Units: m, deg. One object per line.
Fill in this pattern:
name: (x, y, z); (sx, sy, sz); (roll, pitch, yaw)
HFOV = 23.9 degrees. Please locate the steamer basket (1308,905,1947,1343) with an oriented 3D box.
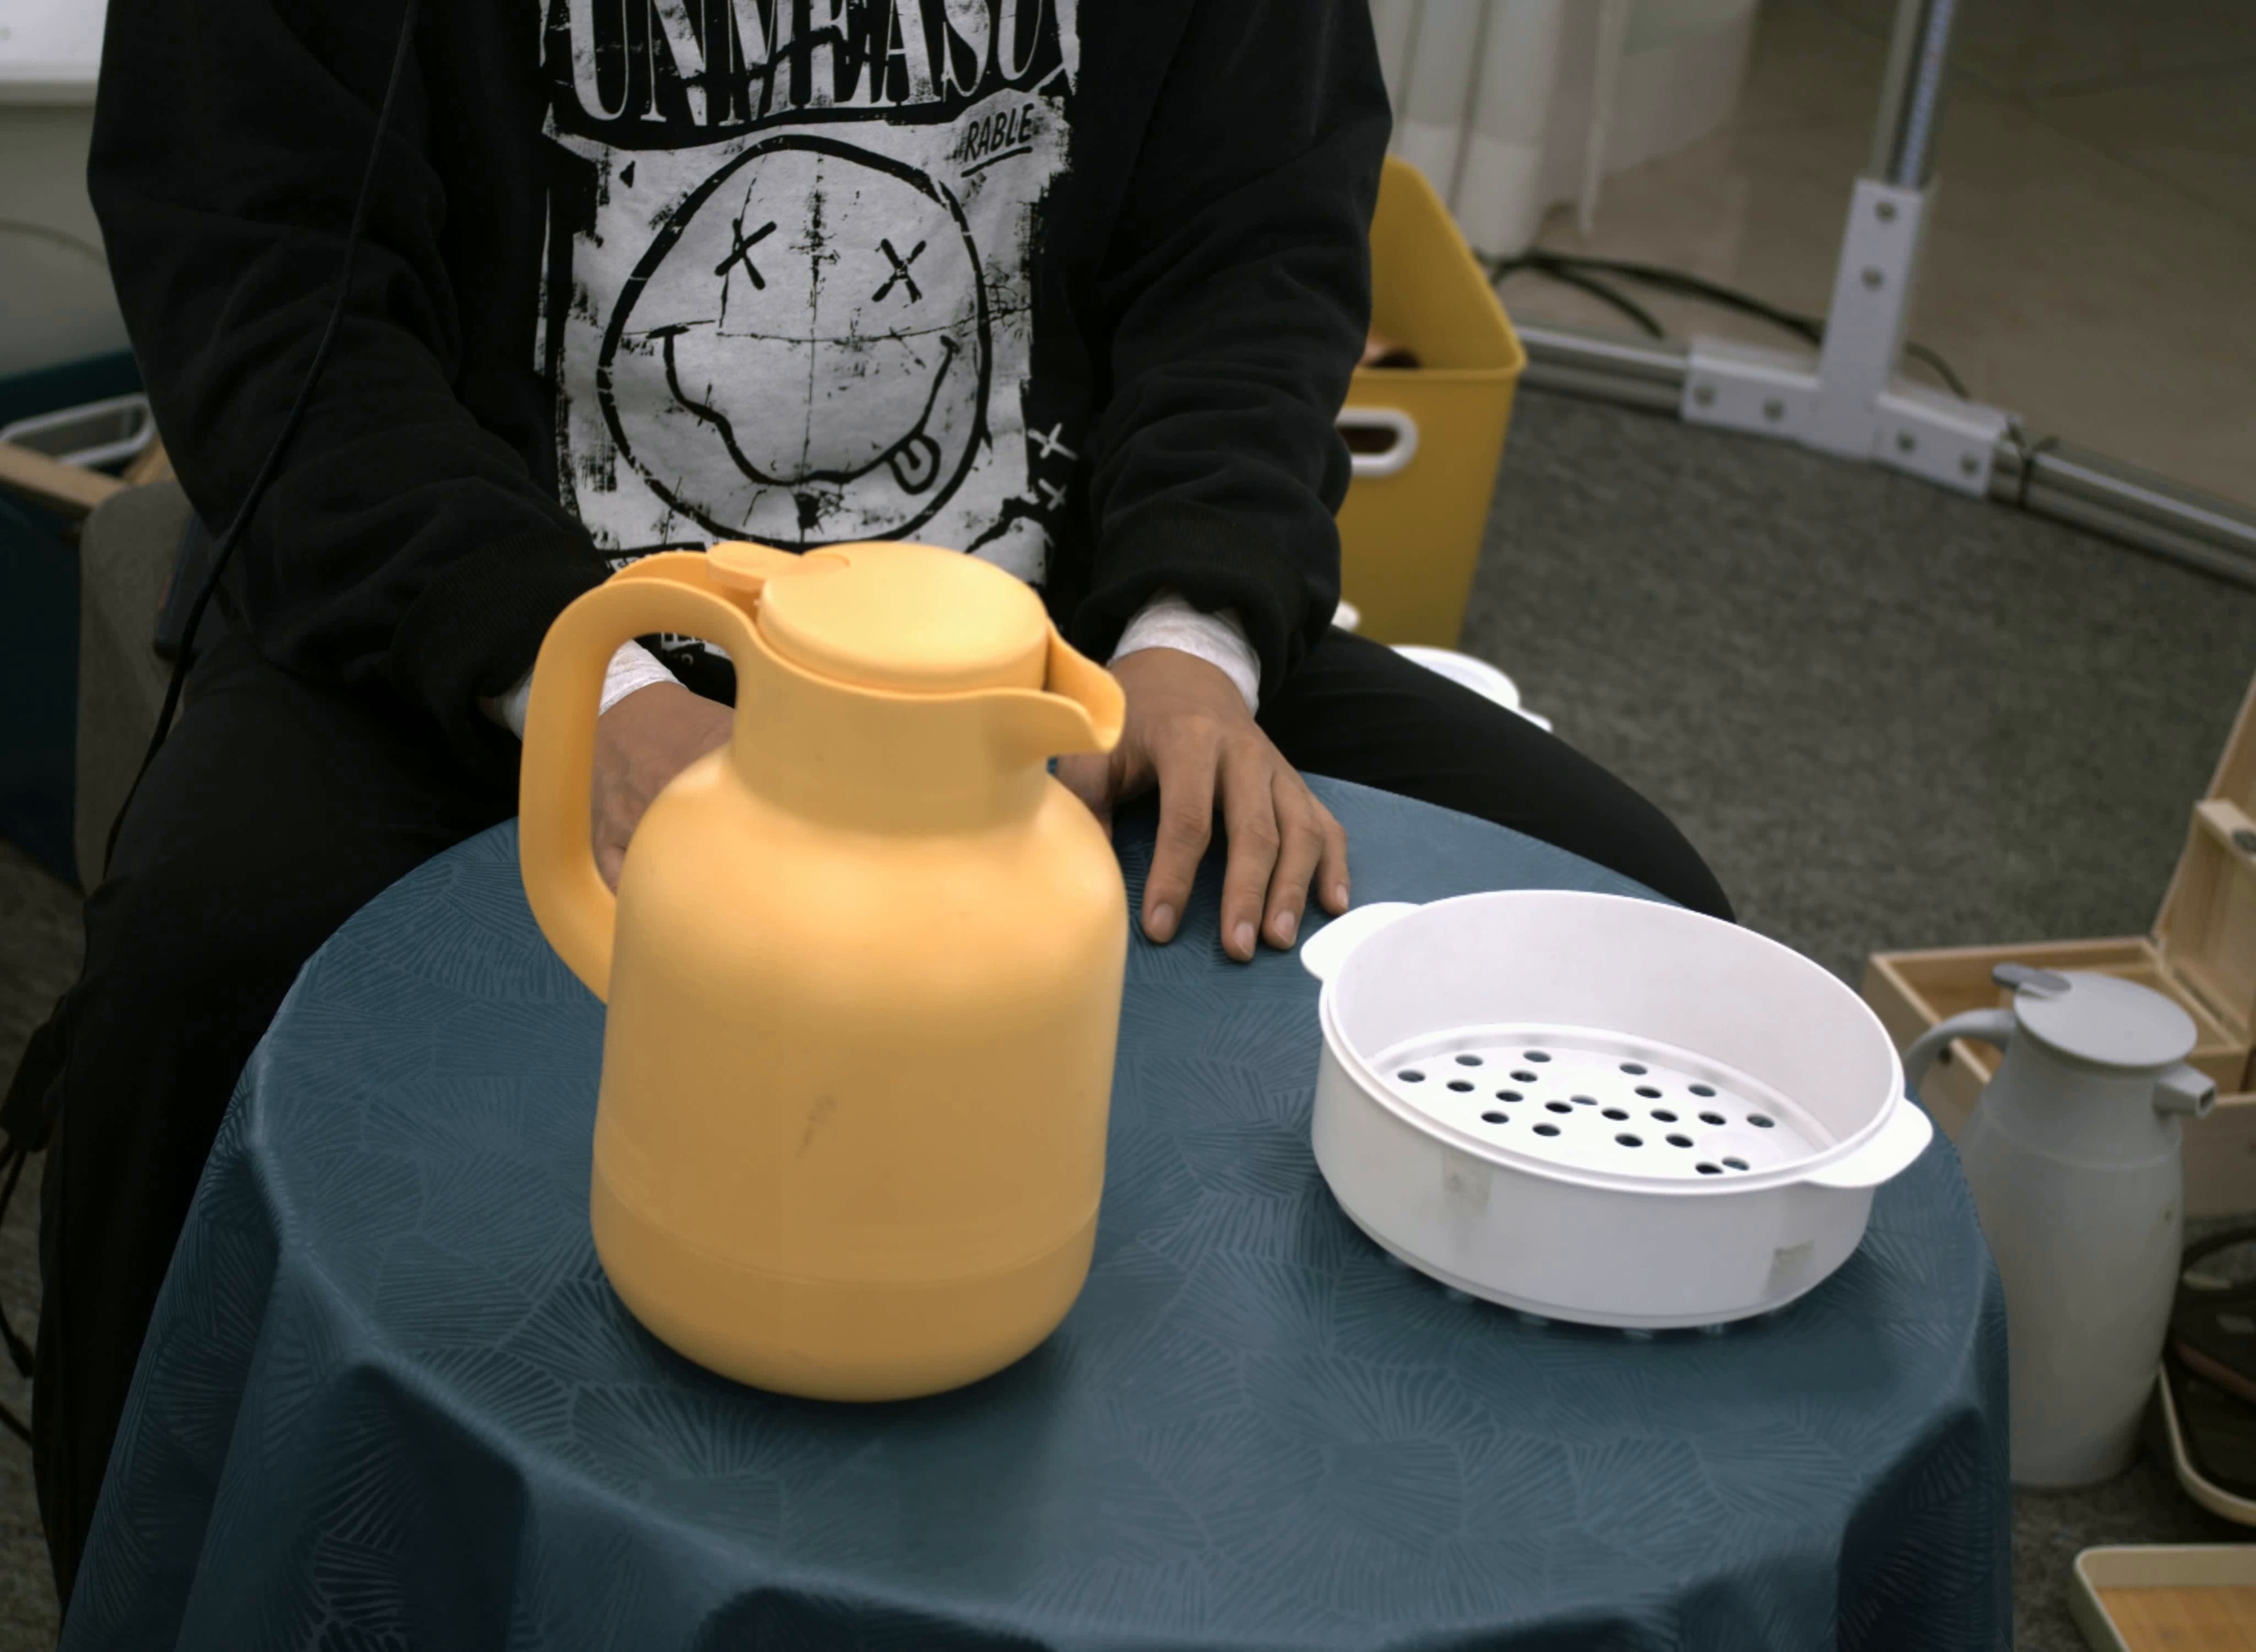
steamer basket: (0.165, 0.102, 1.818); (0.232, 0.069, 0.201); (22, 31, 28)

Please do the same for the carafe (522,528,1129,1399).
carafe: (-0.100, 0.032, 1.673); (0.203, 0.260, 0.163); (20, 27, 21)
